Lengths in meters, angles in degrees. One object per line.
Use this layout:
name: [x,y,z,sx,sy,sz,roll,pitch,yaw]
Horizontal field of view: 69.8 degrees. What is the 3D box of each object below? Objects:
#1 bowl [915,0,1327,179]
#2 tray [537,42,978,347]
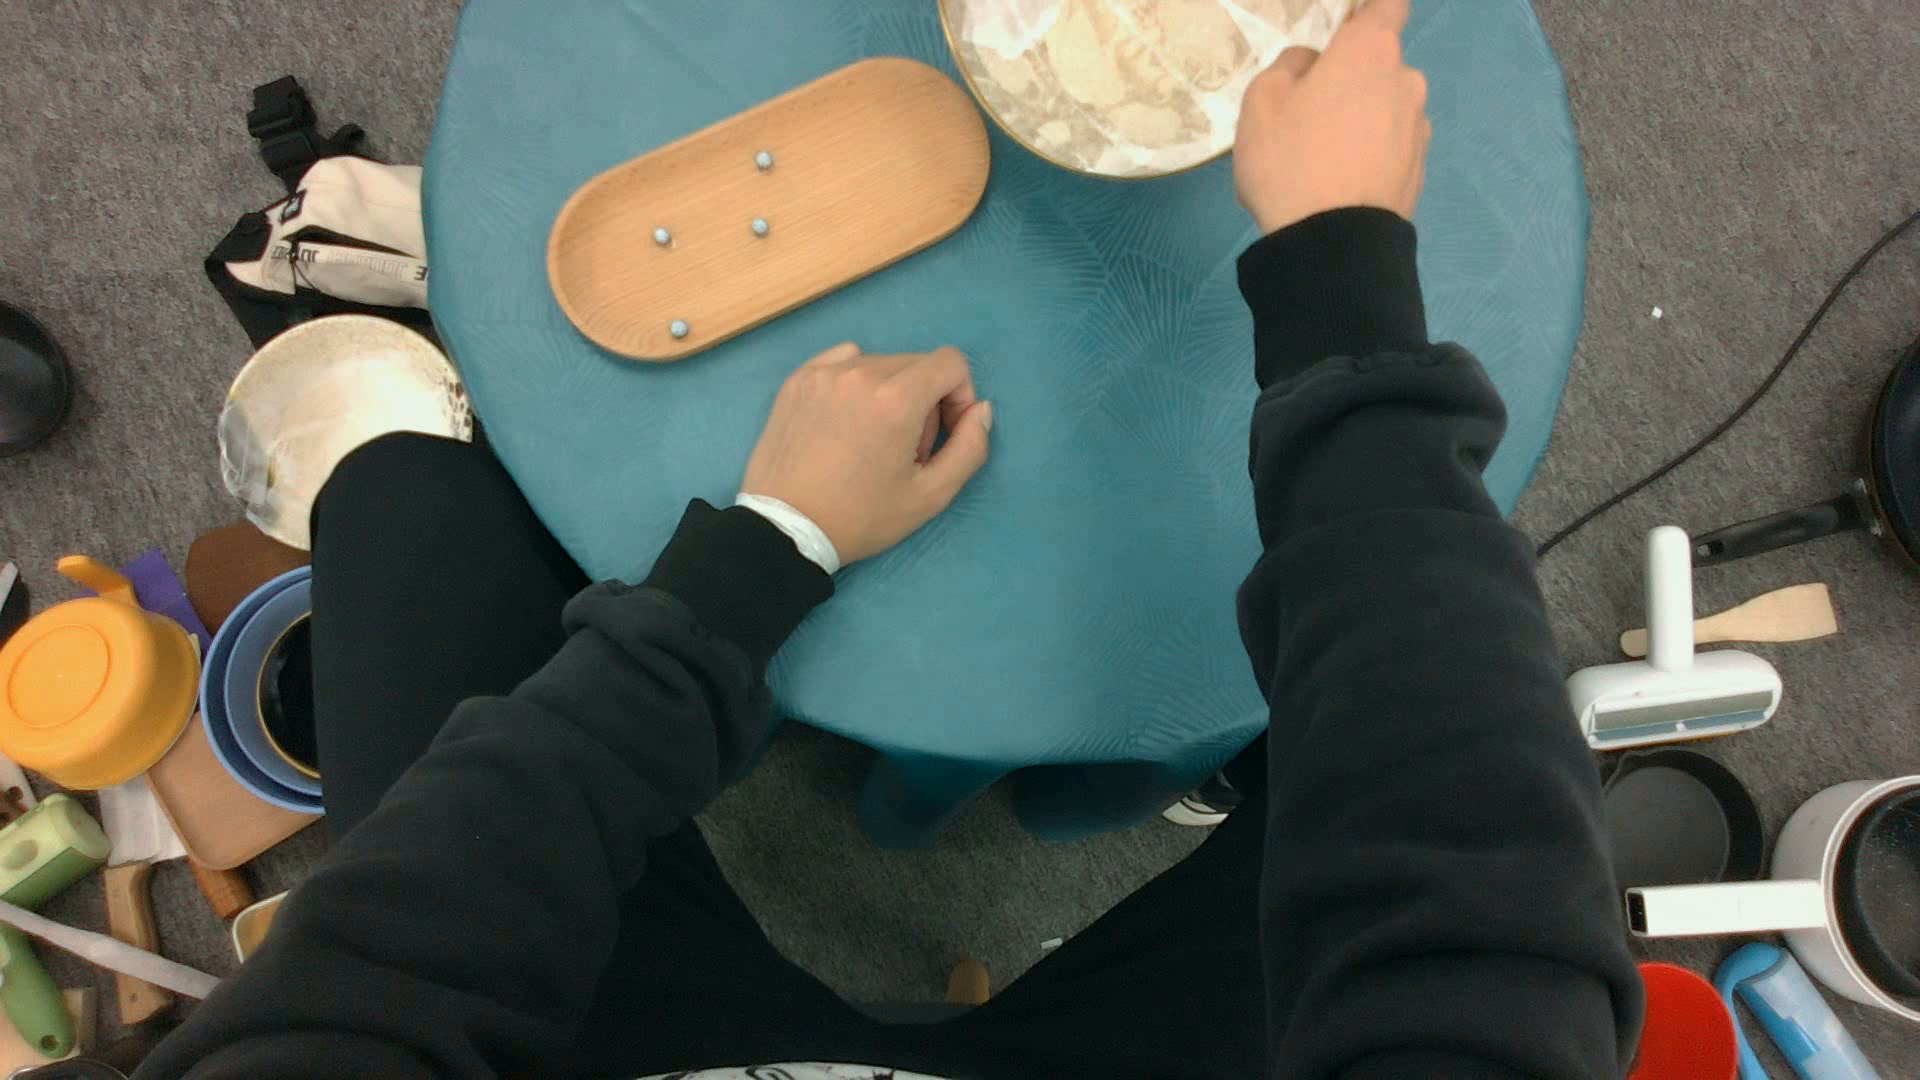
bowl: [0.081,-0.274,0.636,0.214,0.095,0.214,10,111,26]
tray: [-0.099,-0.174,0.692,0.231,0.020,0.102,-28,86,-11]
